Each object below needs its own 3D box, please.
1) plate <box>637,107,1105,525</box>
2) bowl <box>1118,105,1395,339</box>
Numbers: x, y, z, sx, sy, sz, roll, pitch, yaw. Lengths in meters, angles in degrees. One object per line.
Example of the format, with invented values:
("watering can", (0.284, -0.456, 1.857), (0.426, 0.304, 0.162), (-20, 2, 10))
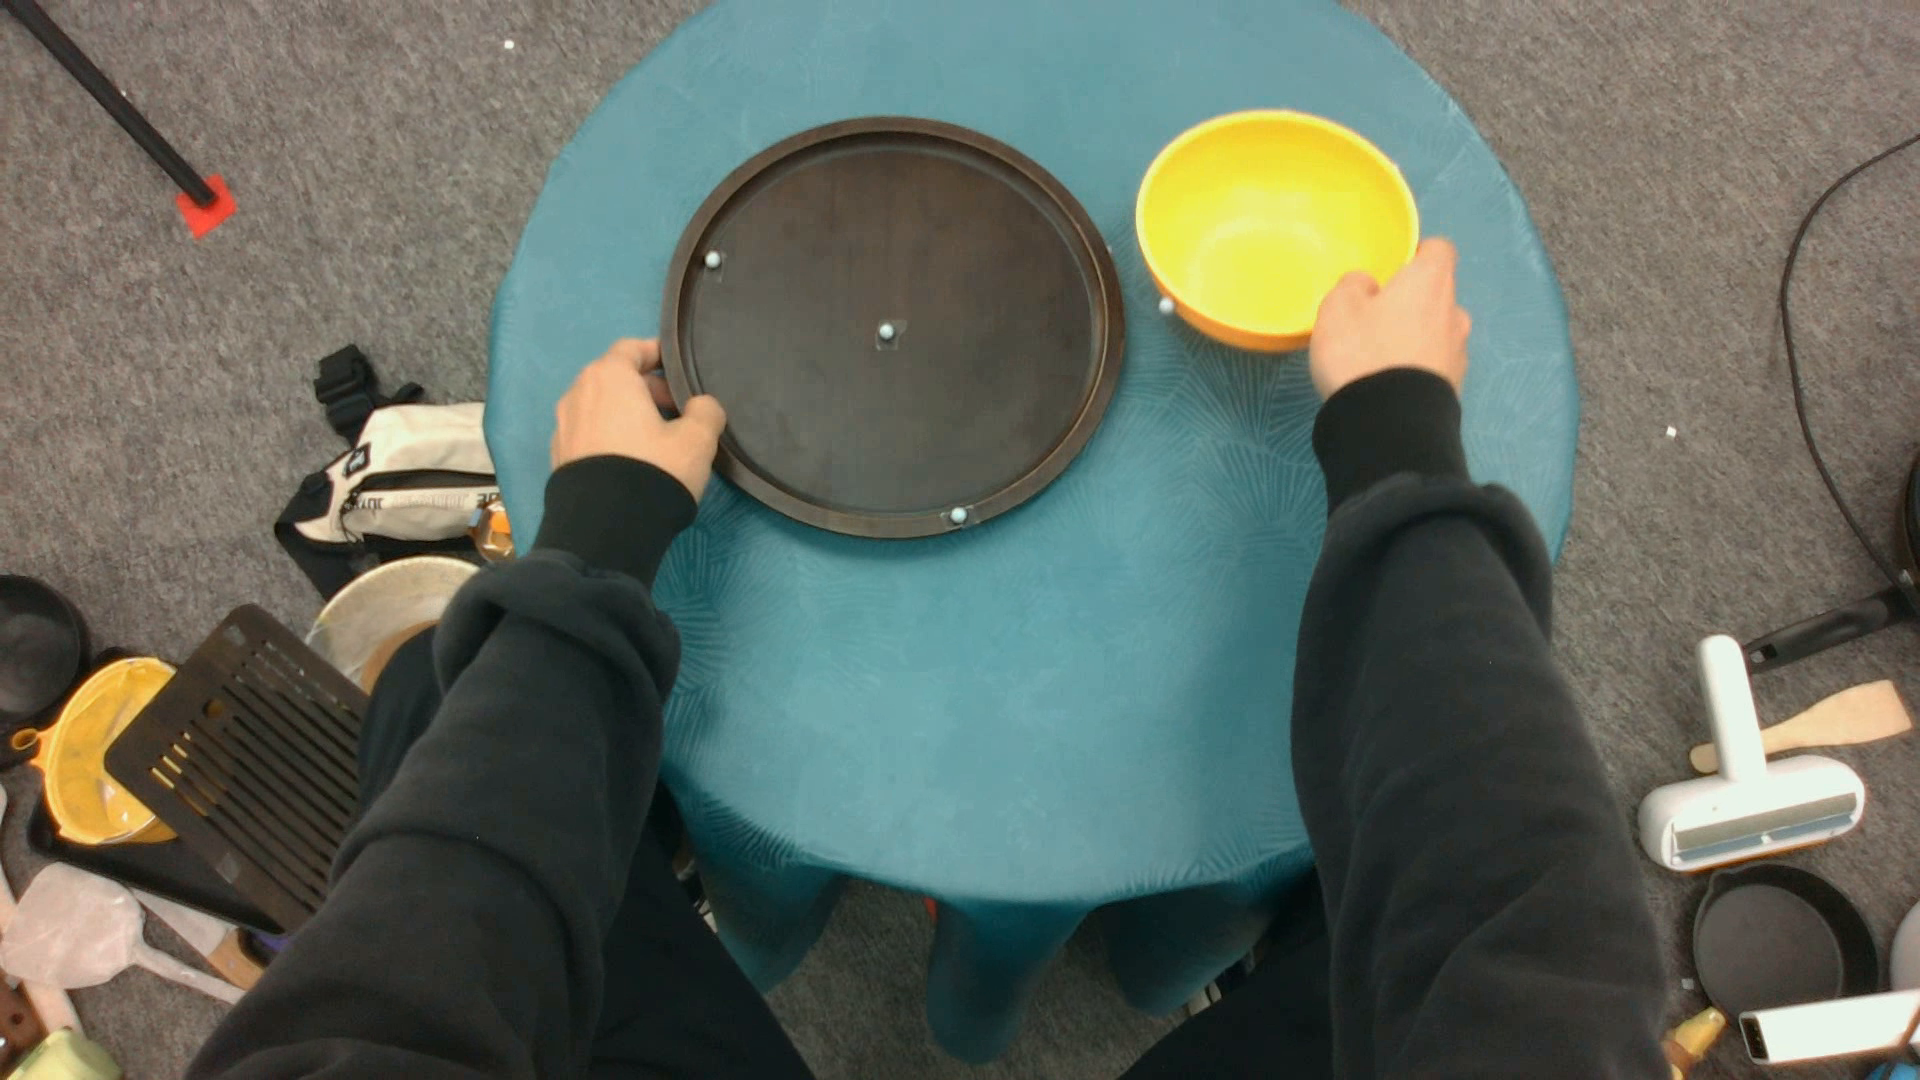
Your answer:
("plate", (-0.047, -0.126, 0.752), (0.255, 0.029, 0.255), (1, 73, -4))
("bowl", (0.157, -0.162, 0.750), (0.145, 0.060, 0.146), (-1, 65, 2))
